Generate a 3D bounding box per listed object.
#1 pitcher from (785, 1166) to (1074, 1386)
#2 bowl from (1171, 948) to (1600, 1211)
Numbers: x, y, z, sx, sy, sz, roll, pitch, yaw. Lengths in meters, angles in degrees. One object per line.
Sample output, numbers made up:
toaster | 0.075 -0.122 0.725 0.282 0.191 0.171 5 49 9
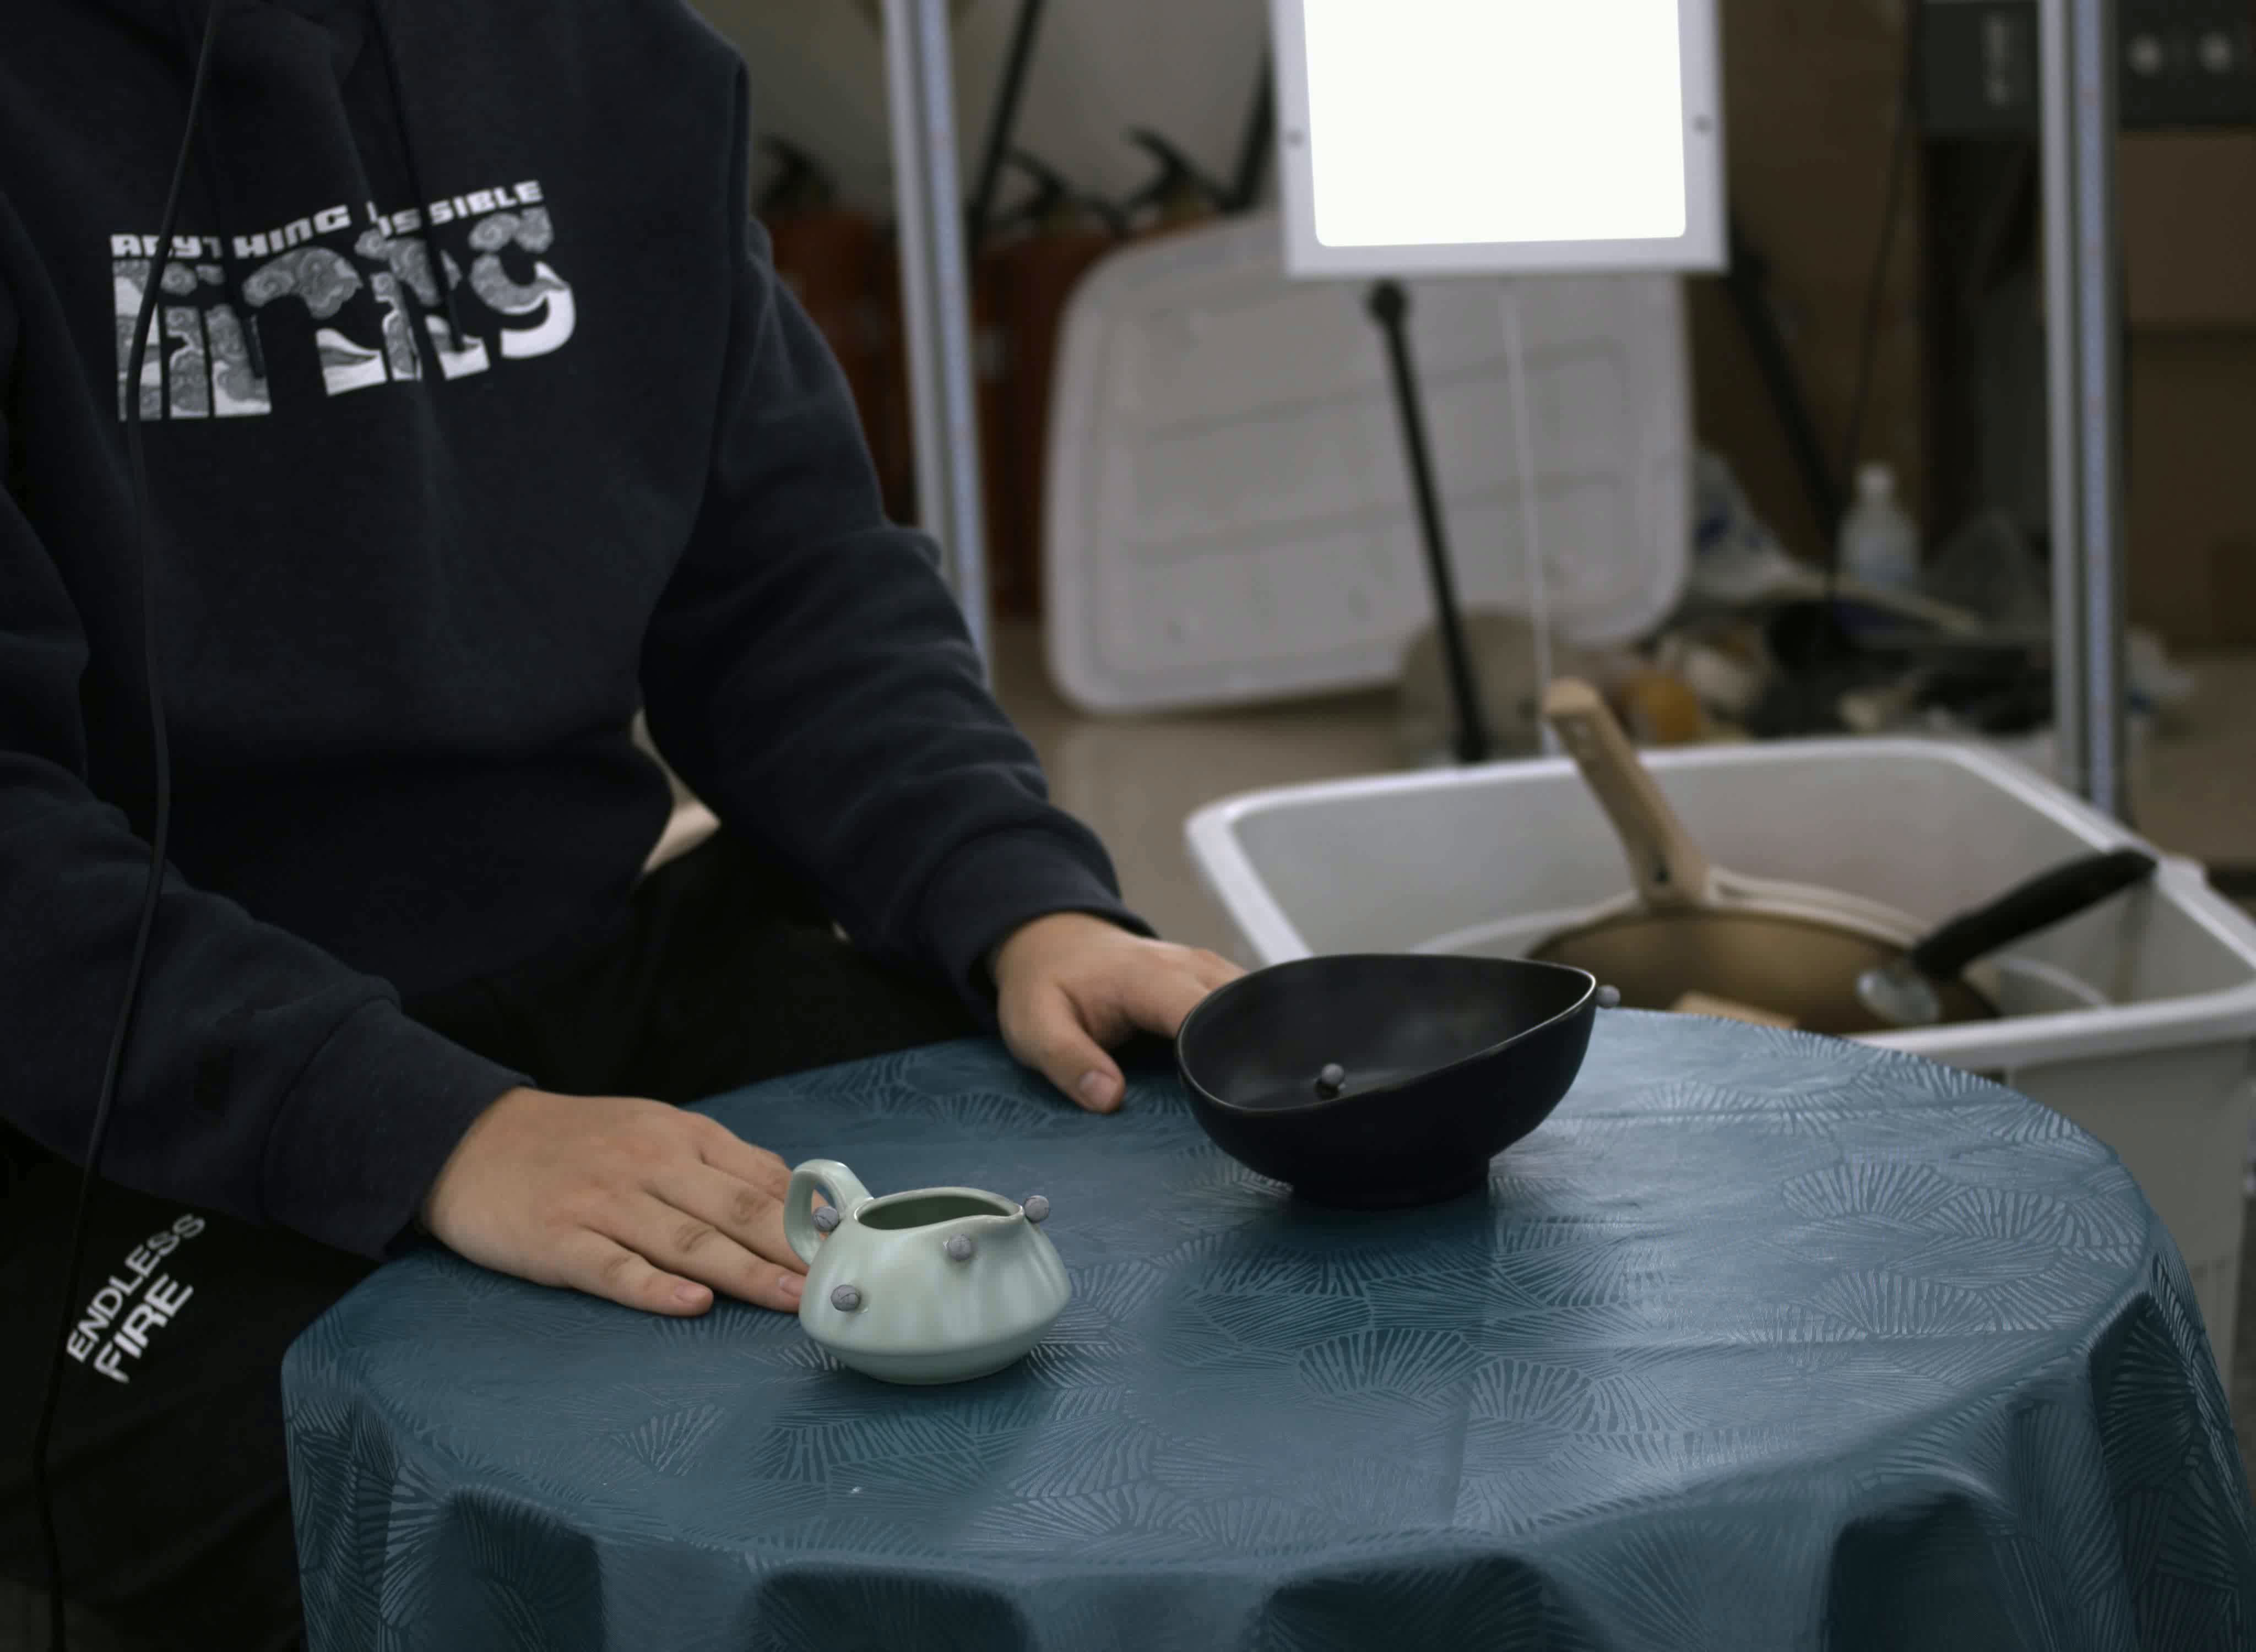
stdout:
pitcher | -0.069 0.141 1.743 0.110 0.060 0.084 6 16 44
bowl | 0.091 0.091 1.882 0.140 0.067 0.166 4 17 35
